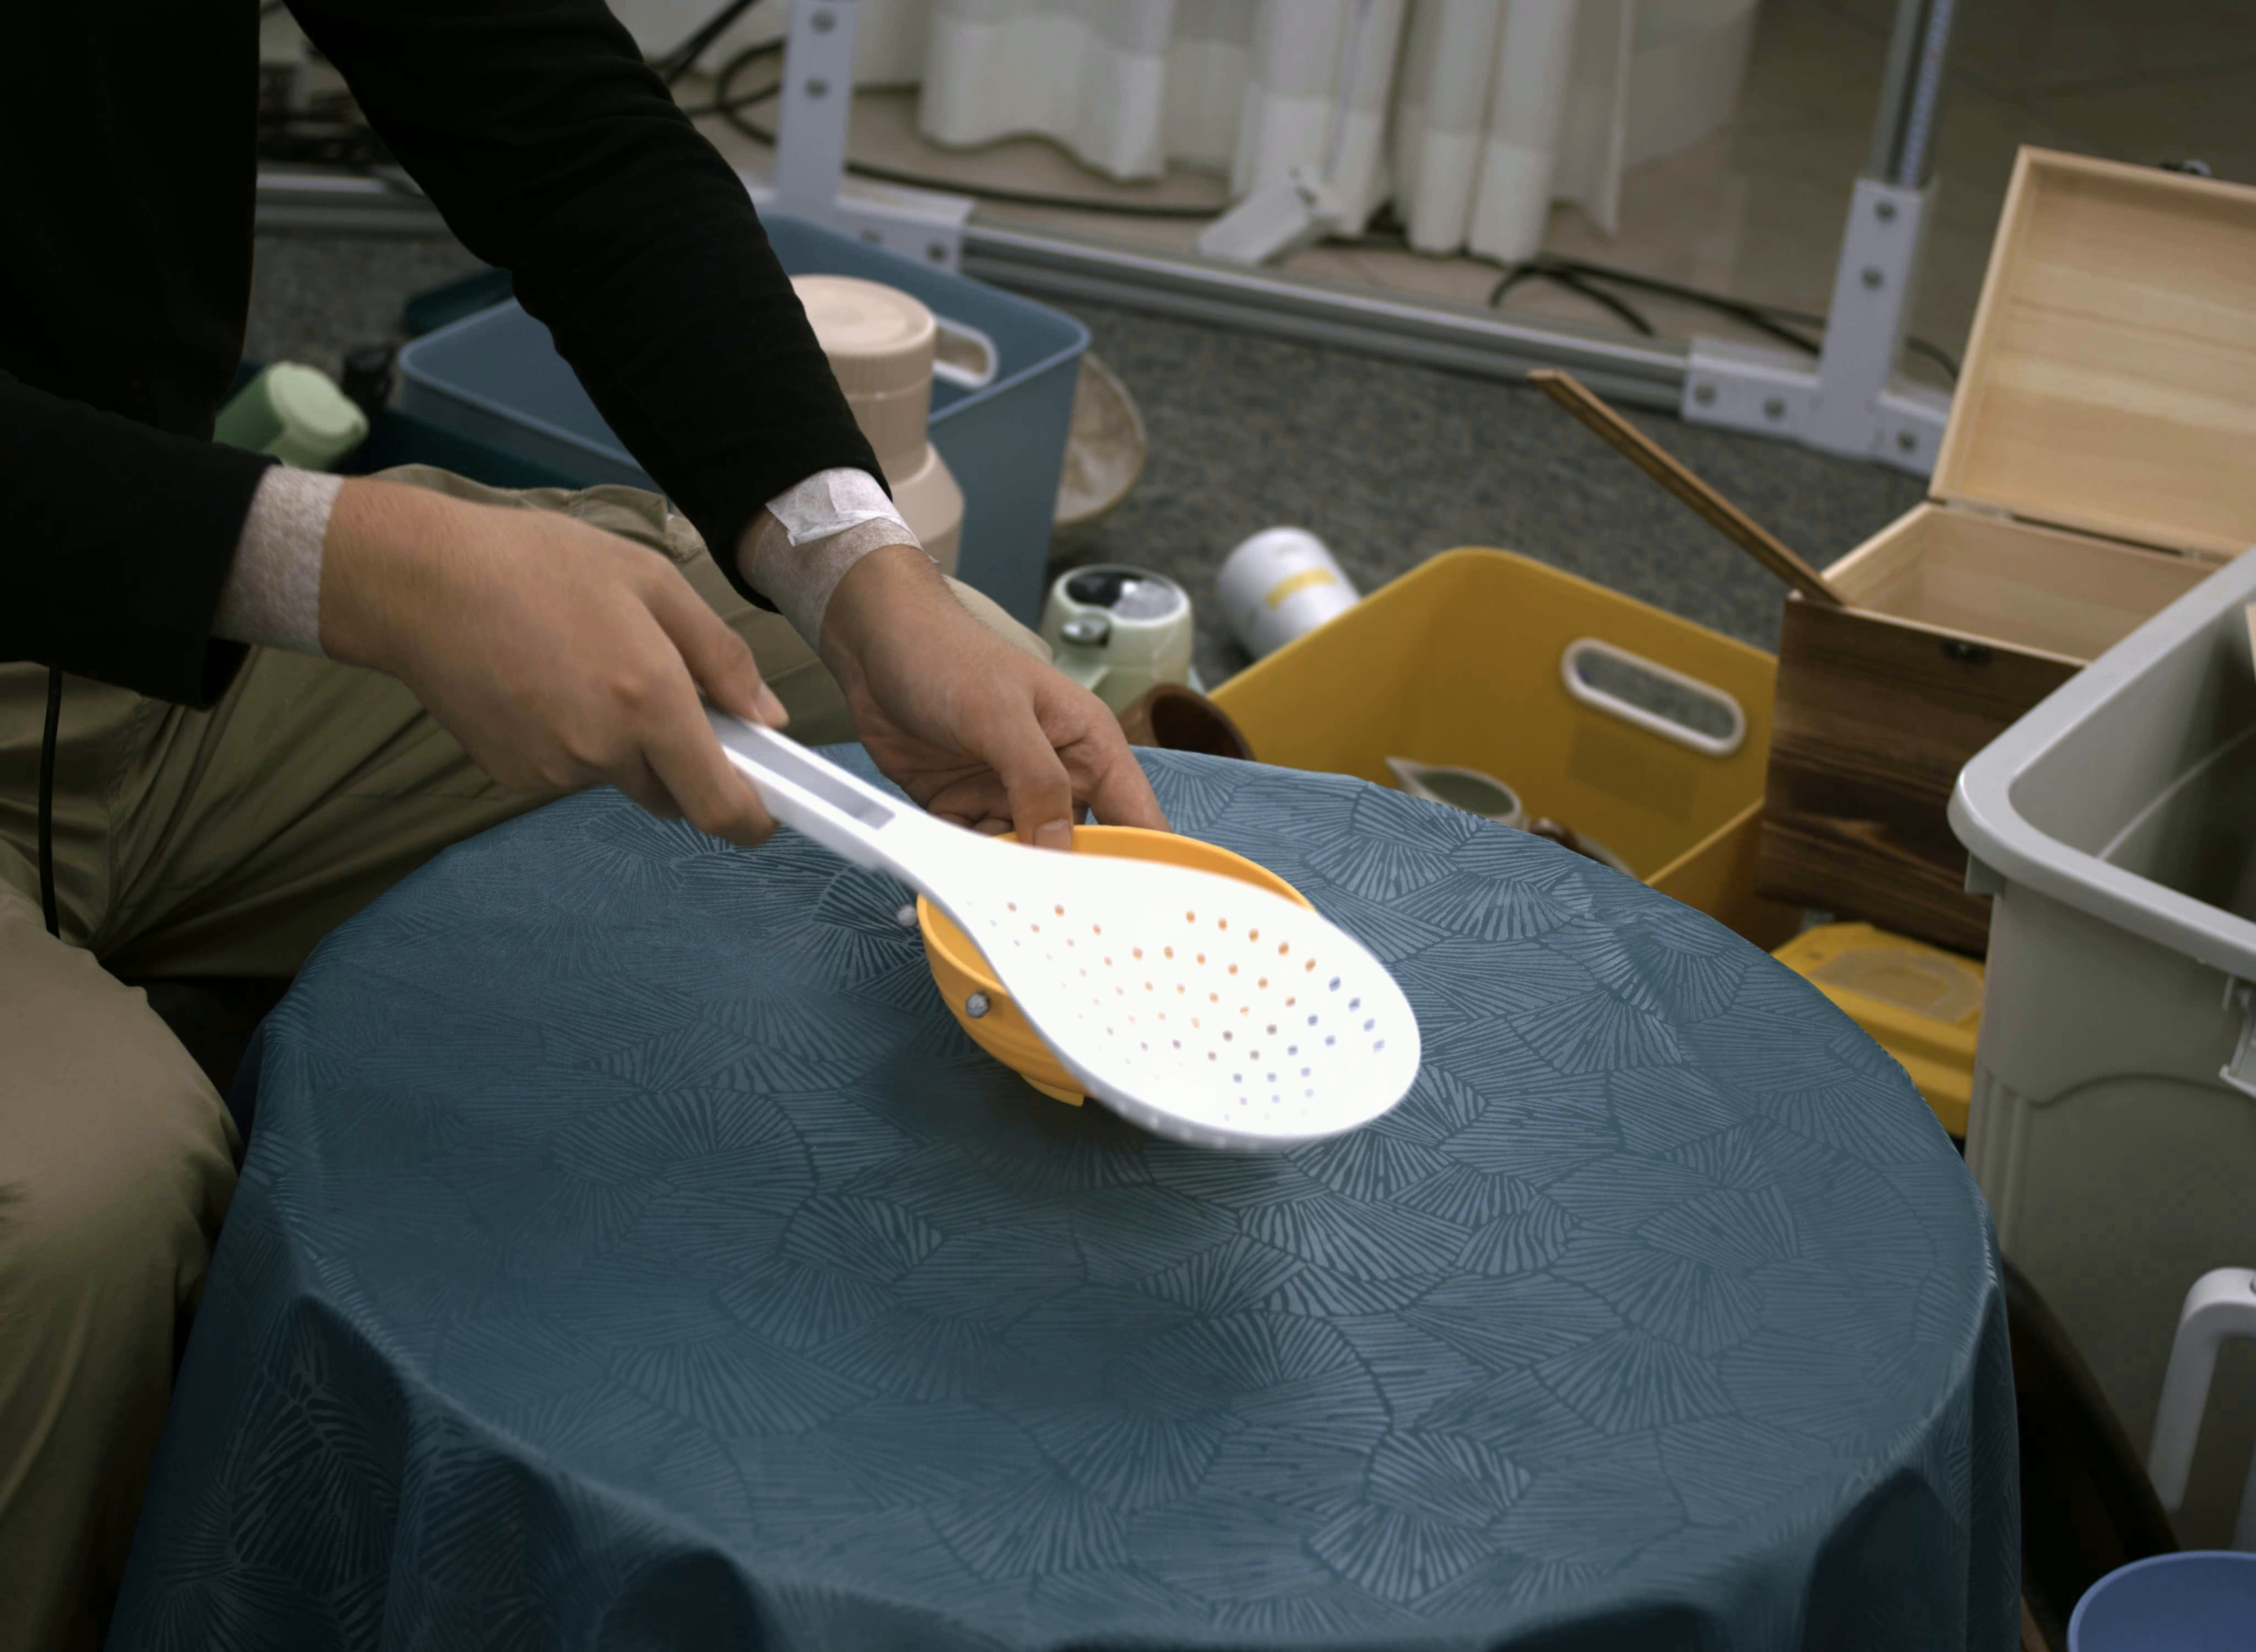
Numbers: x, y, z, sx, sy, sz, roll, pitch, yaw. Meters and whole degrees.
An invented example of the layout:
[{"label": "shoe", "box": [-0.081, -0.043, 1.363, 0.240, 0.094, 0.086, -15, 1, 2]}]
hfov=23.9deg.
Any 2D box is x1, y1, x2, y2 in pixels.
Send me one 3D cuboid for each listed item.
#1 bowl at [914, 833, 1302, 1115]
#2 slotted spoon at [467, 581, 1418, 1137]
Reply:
[{"label": "bowl", "box": [-0.007, 0.061, 1.865, 0.145, 0.060, 0.146, 6, 25, -3]}, {"label": "slotted spoon", "box": [-0.067, 0.007, 1.726, 0.350, 0.045, 0.136, 32, 35, 13]}]
